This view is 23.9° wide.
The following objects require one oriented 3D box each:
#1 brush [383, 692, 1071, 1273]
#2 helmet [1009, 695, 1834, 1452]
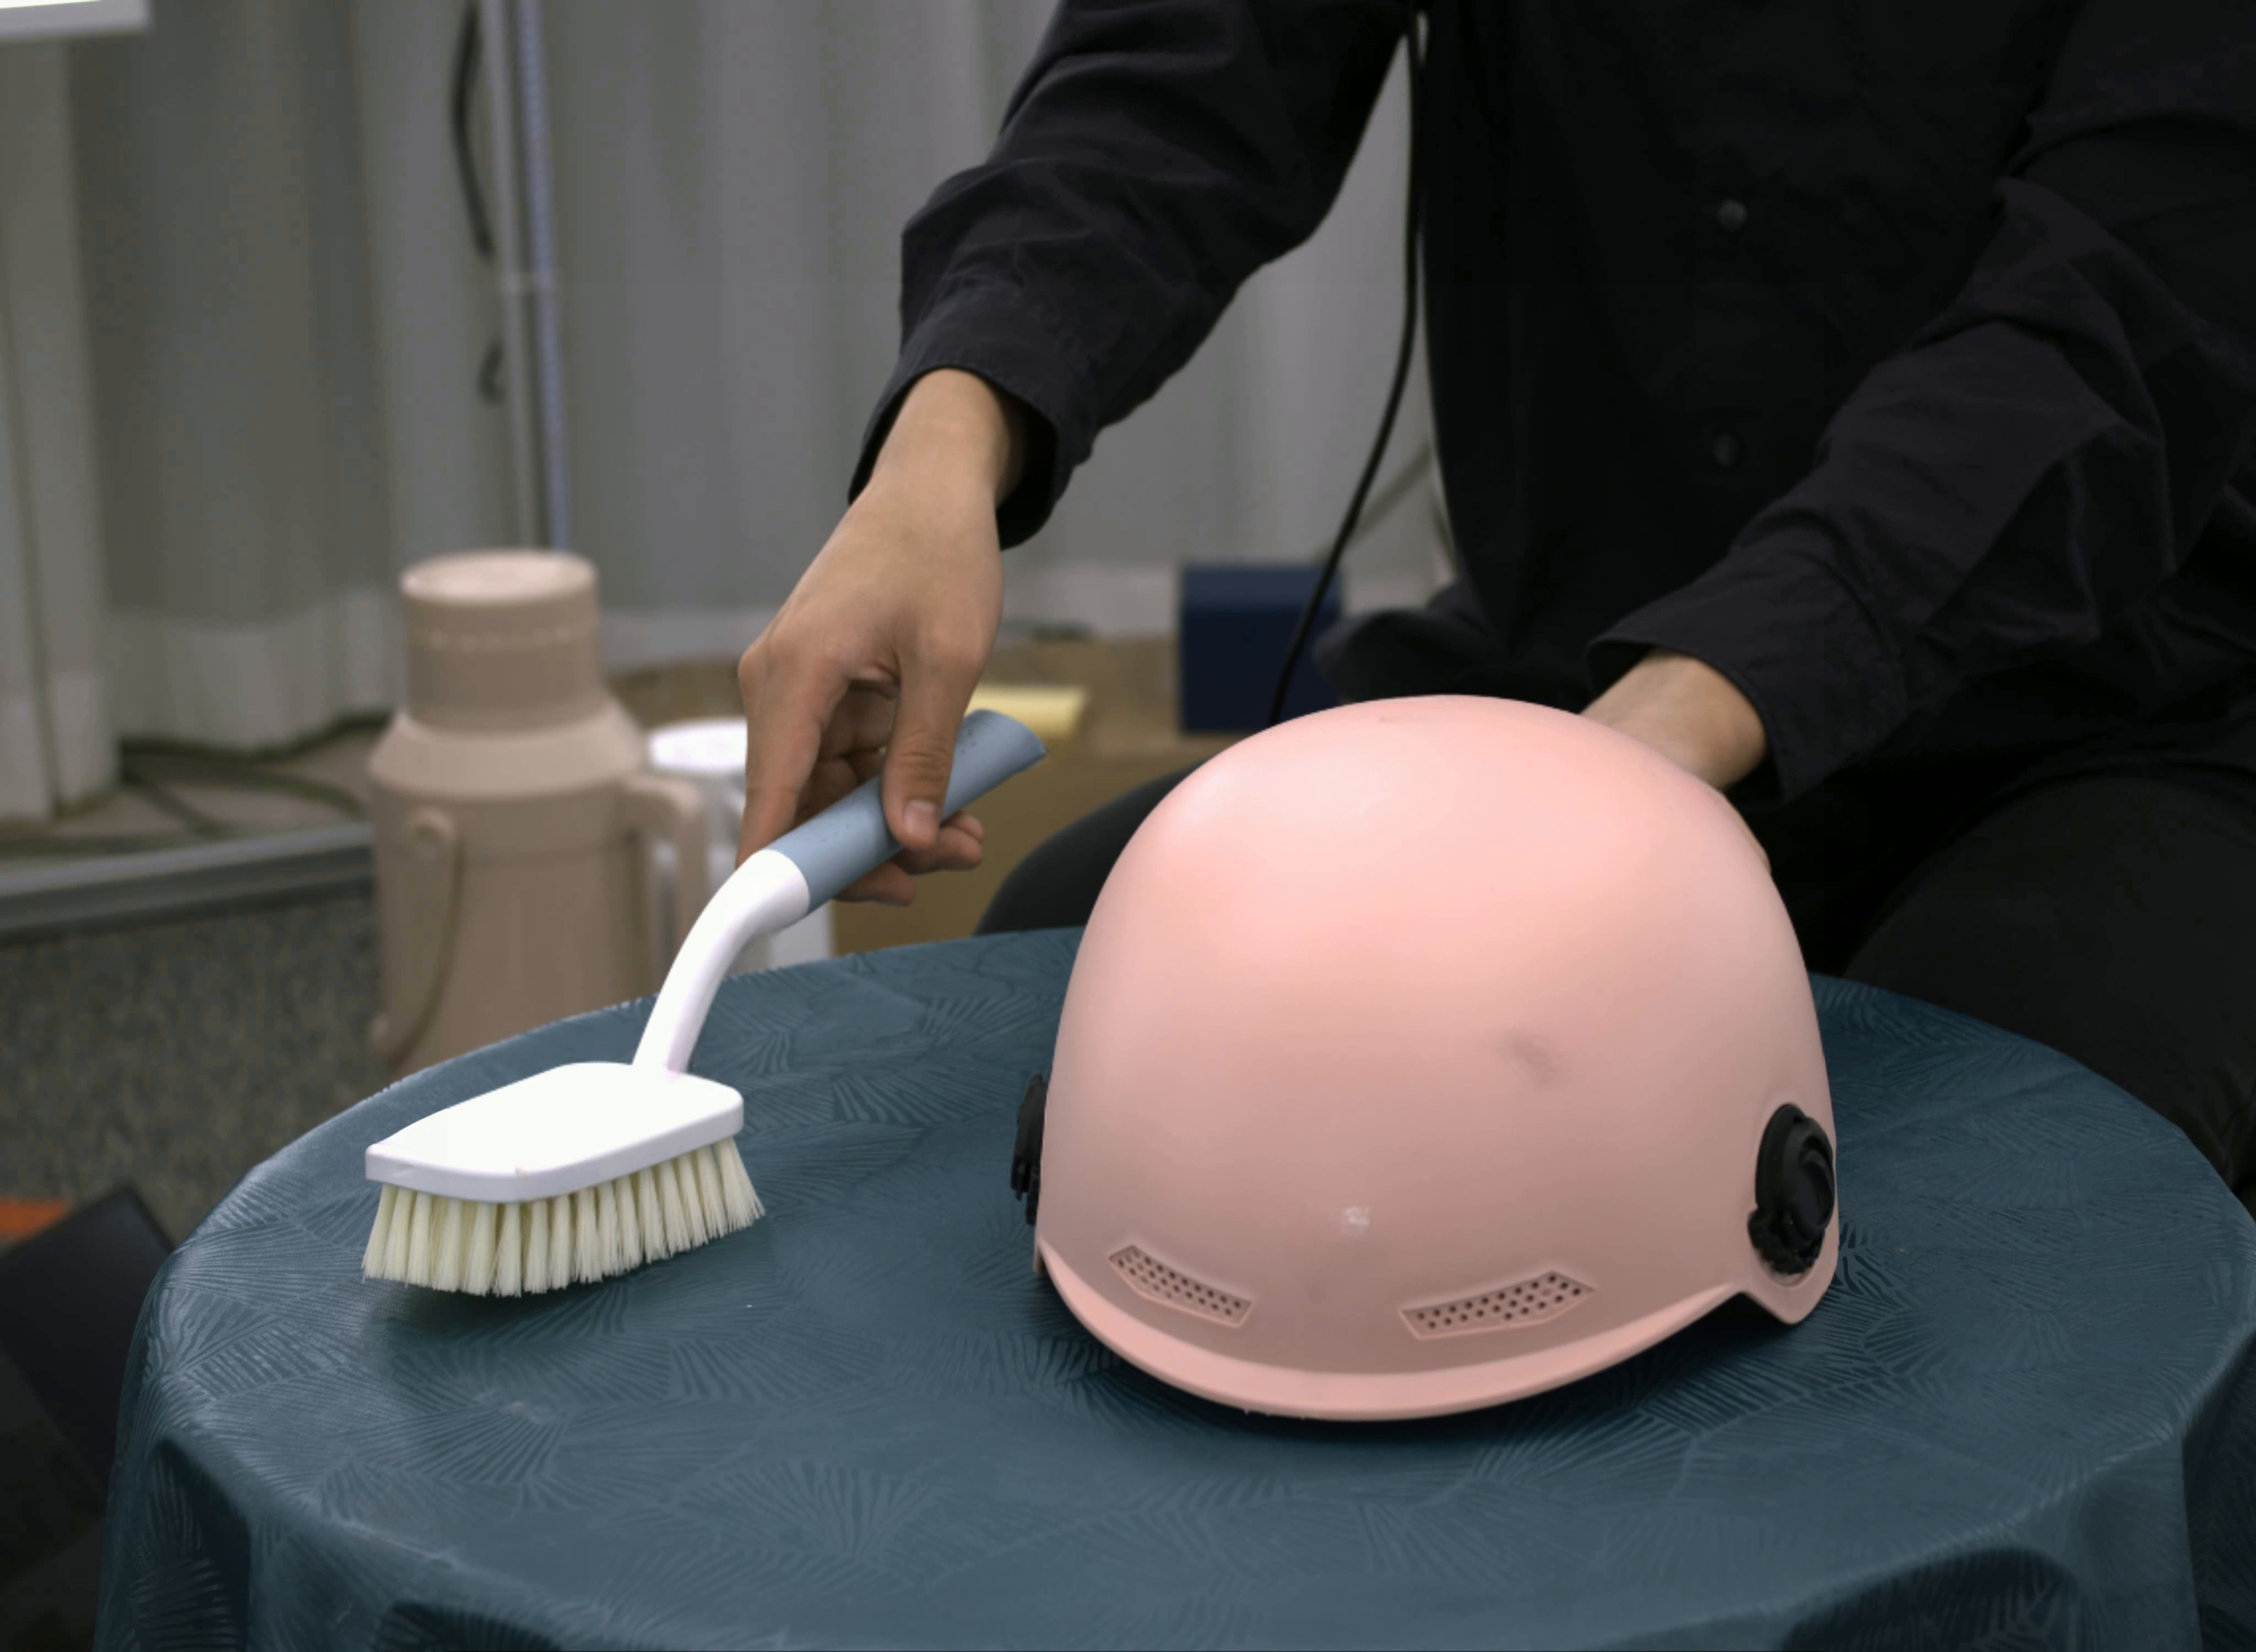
[{"bbox_3d":[-0.106,0.061,1.603,0.084,0.085,0.320,41,42,13],"label":"brush"},{"bbox_3d":[0.083,0.053,1.473,0.236,0.158,0.264,3,21,17],"label":"helmet"}]
